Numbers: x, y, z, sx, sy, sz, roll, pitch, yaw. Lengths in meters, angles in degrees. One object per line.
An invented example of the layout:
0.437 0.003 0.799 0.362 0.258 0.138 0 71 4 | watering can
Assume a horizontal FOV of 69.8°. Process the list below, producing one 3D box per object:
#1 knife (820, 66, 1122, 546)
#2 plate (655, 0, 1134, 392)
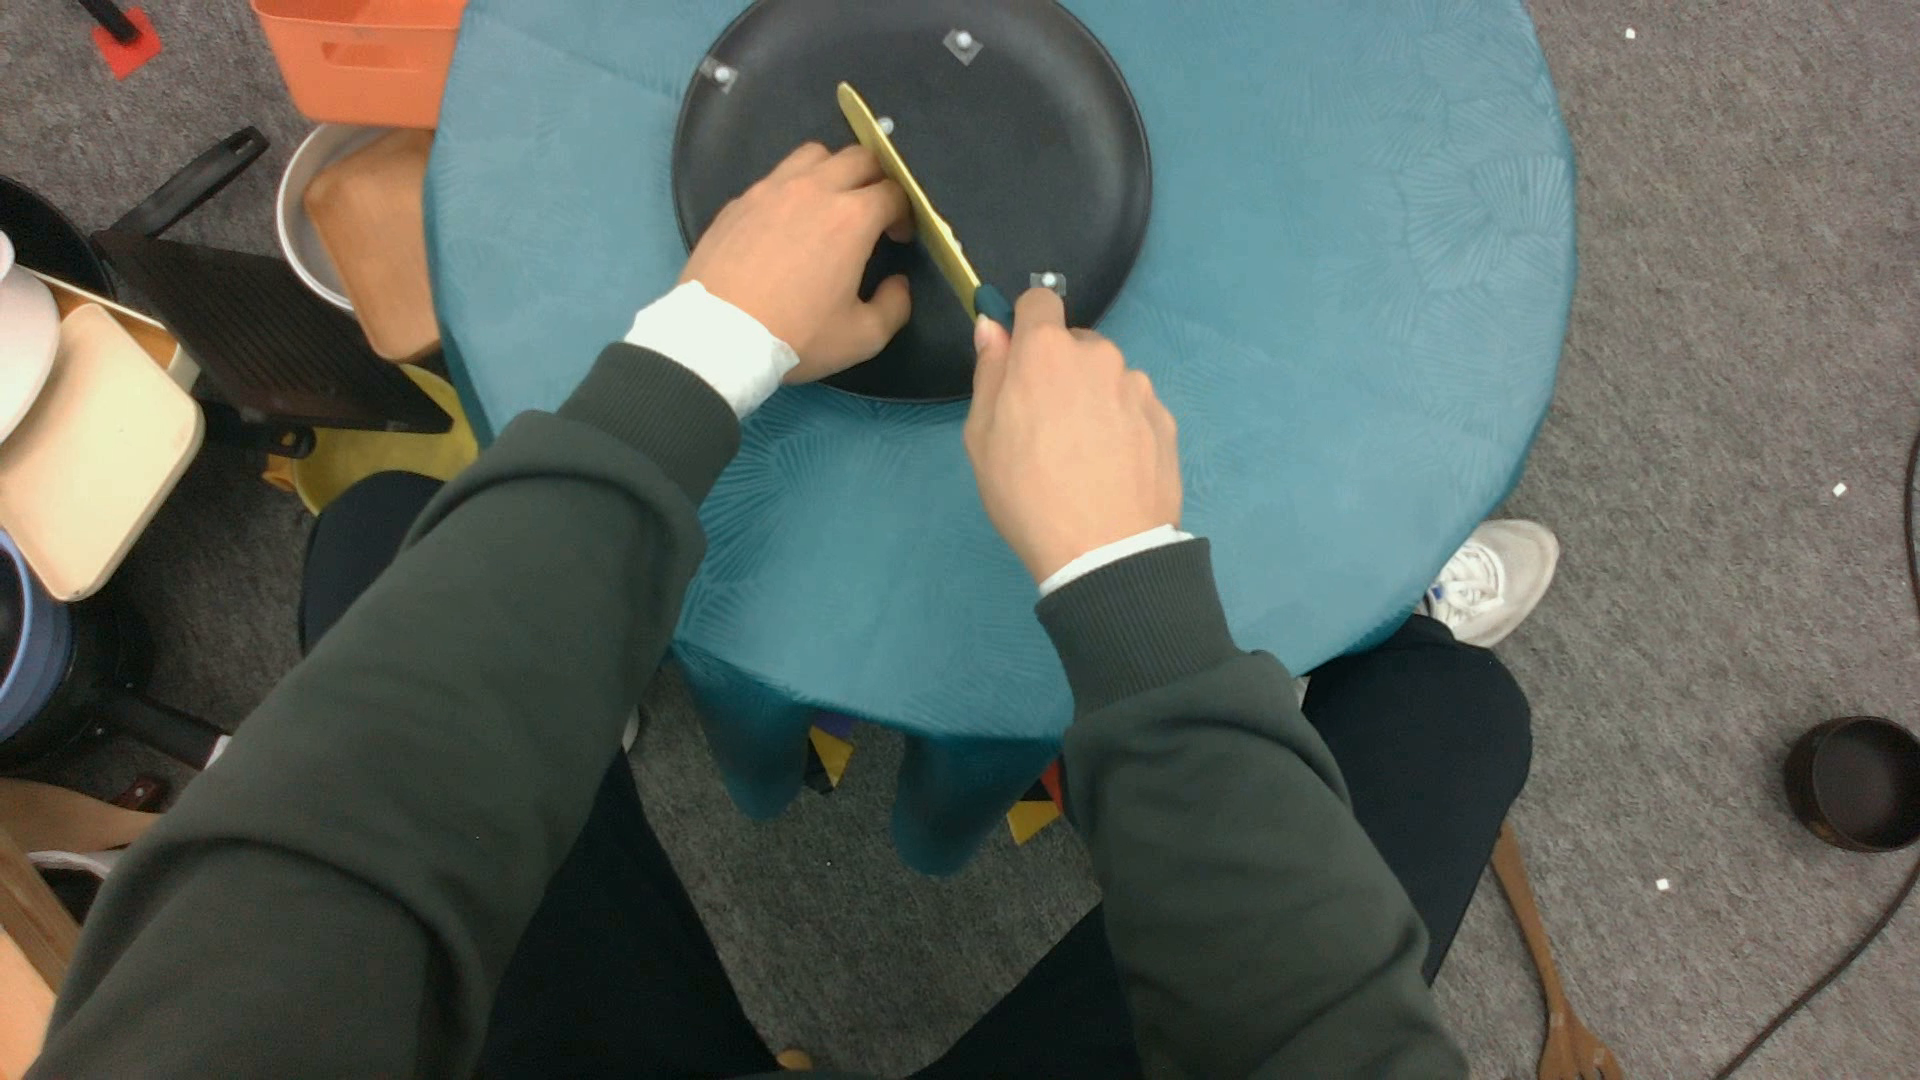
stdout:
-0.003 -0.116 0.643 0.027 0.081 0.290 -29 70 0 | knife
-0.032 -0.190 0.706 0.244 0.023 0.245 1 78 -5 | plate
